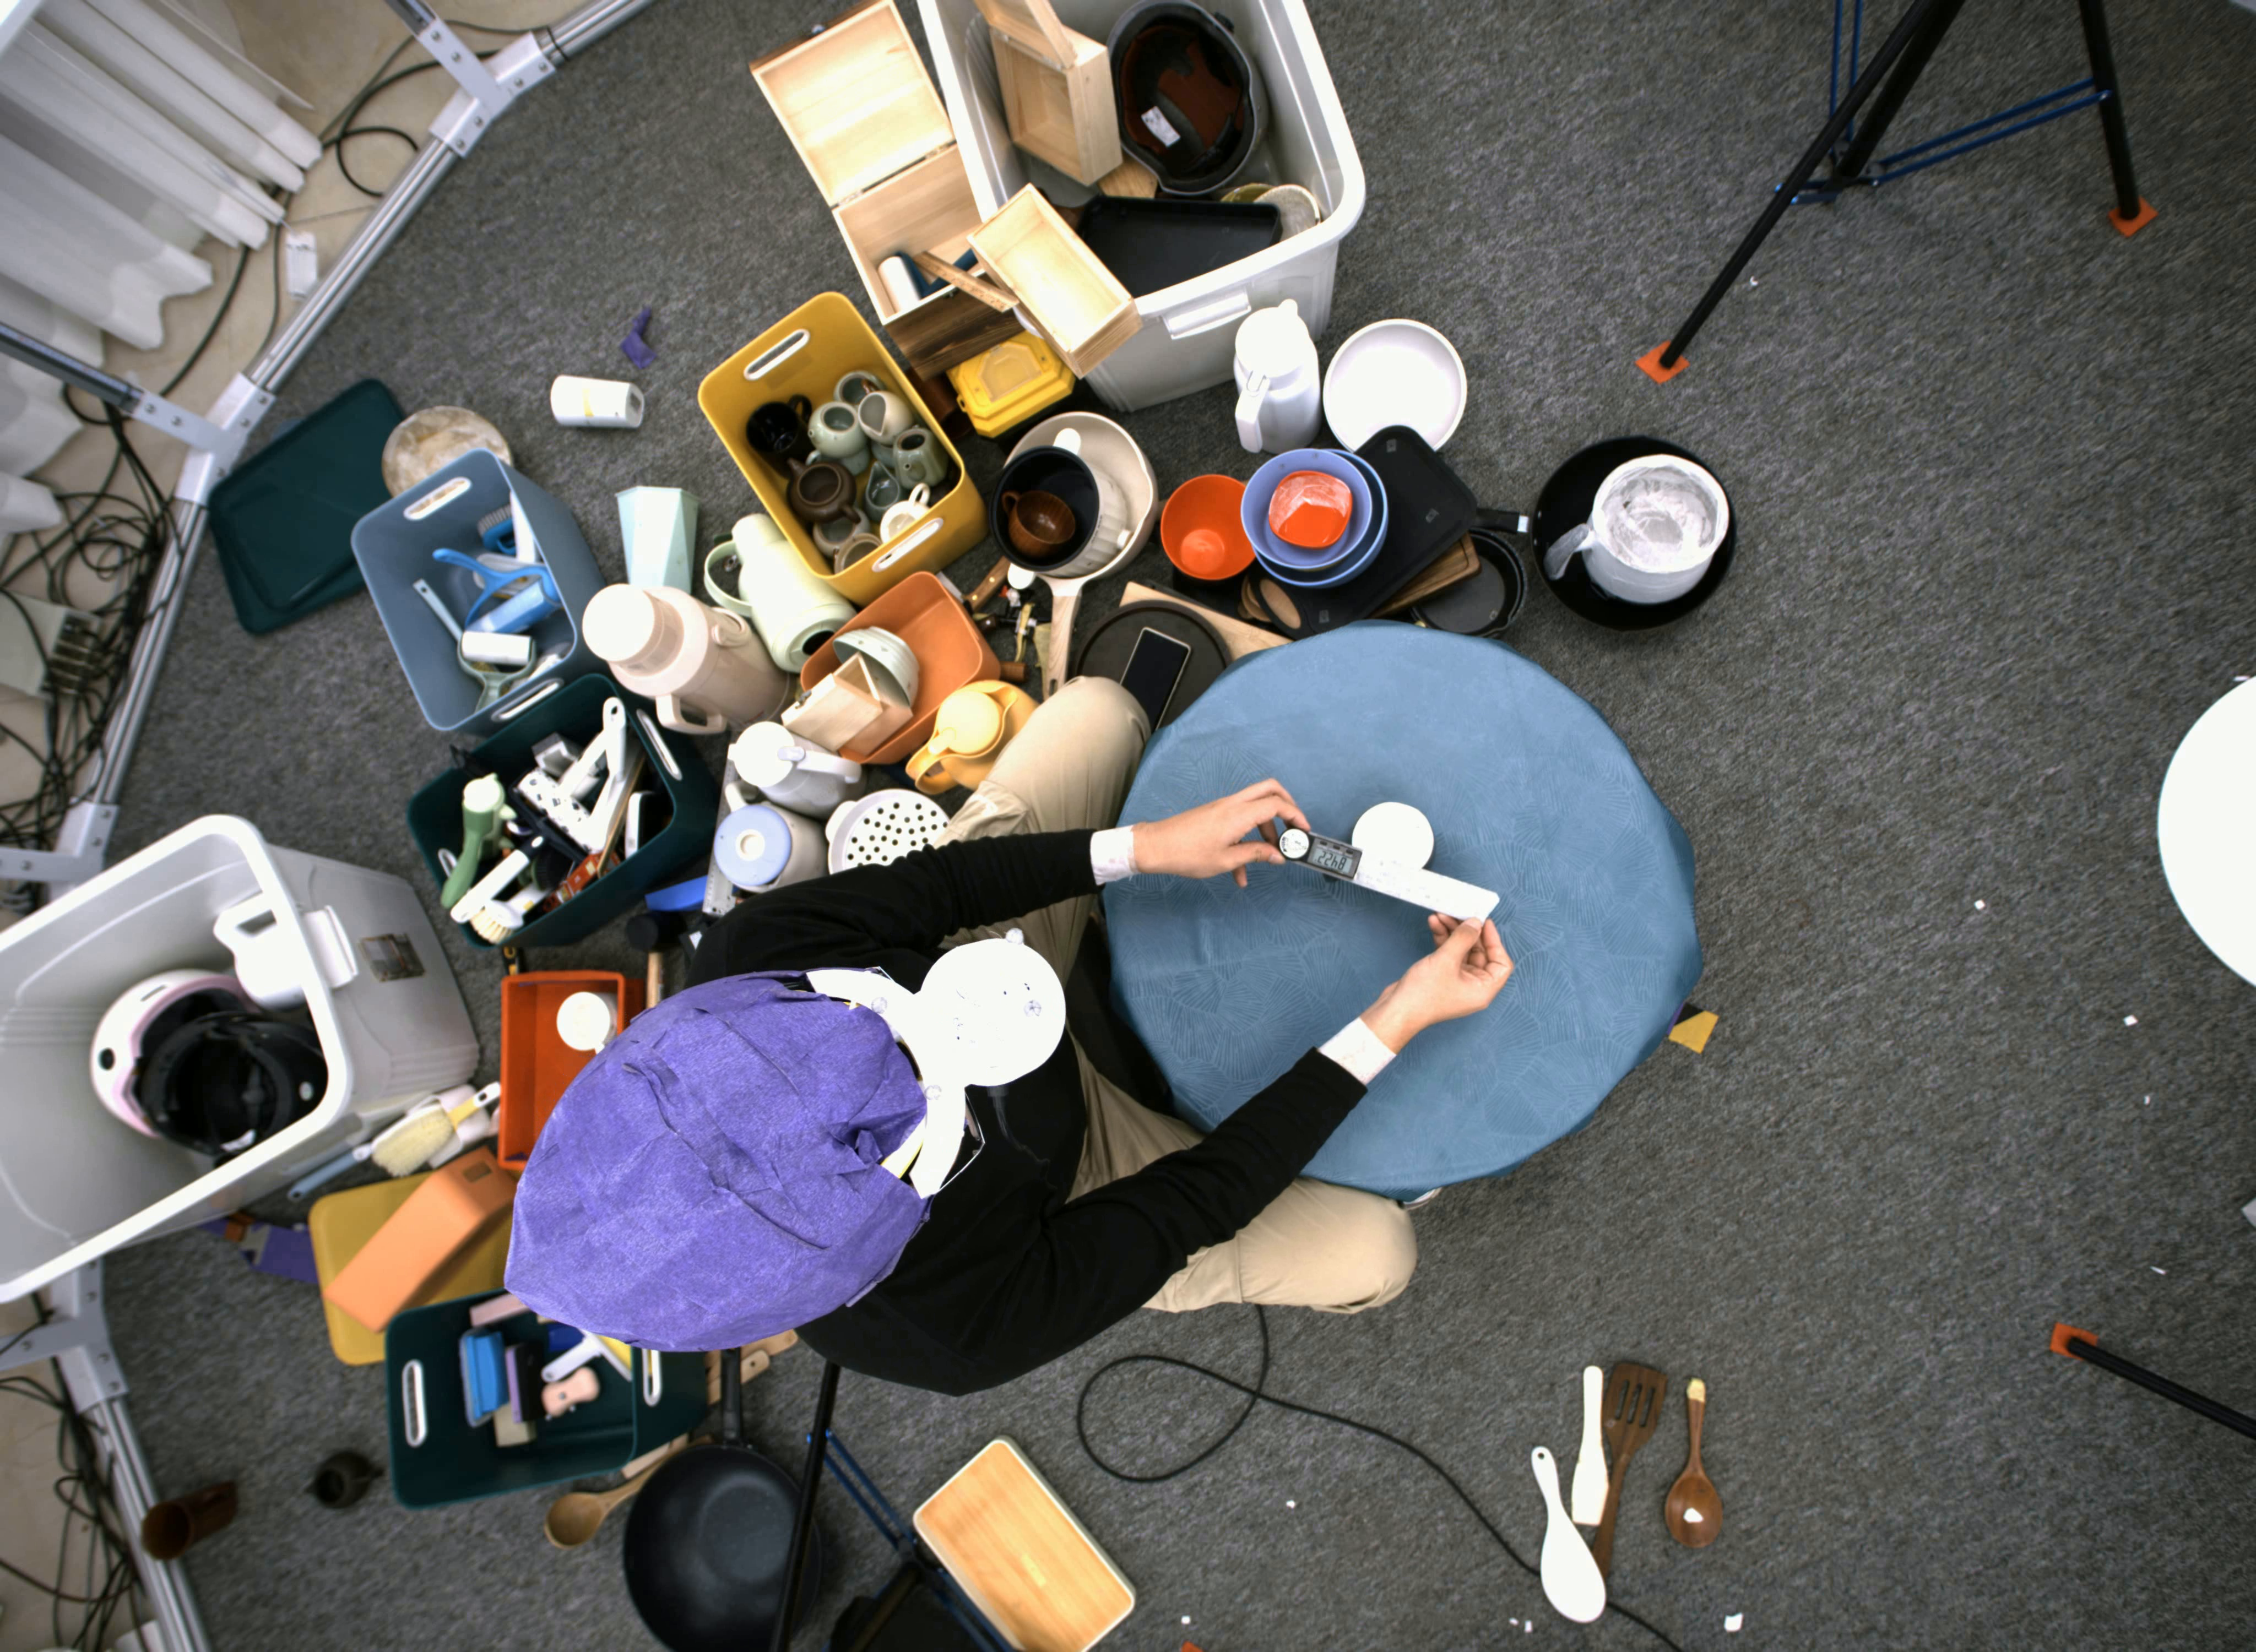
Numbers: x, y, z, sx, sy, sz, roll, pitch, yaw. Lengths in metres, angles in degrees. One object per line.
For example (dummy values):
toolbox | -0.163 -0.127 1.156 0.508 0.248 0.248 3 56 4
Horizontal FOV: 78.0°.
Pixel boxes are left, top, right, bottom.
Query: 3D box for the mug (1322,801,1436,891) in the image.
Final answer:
mug | 0.257 0.024 1.418 0.124 0.090 0.093 -24 81 7

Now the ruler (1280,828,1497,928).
ruler | 0.254 0.048 1.362 0.218 0.024 0.038 19 98 12
